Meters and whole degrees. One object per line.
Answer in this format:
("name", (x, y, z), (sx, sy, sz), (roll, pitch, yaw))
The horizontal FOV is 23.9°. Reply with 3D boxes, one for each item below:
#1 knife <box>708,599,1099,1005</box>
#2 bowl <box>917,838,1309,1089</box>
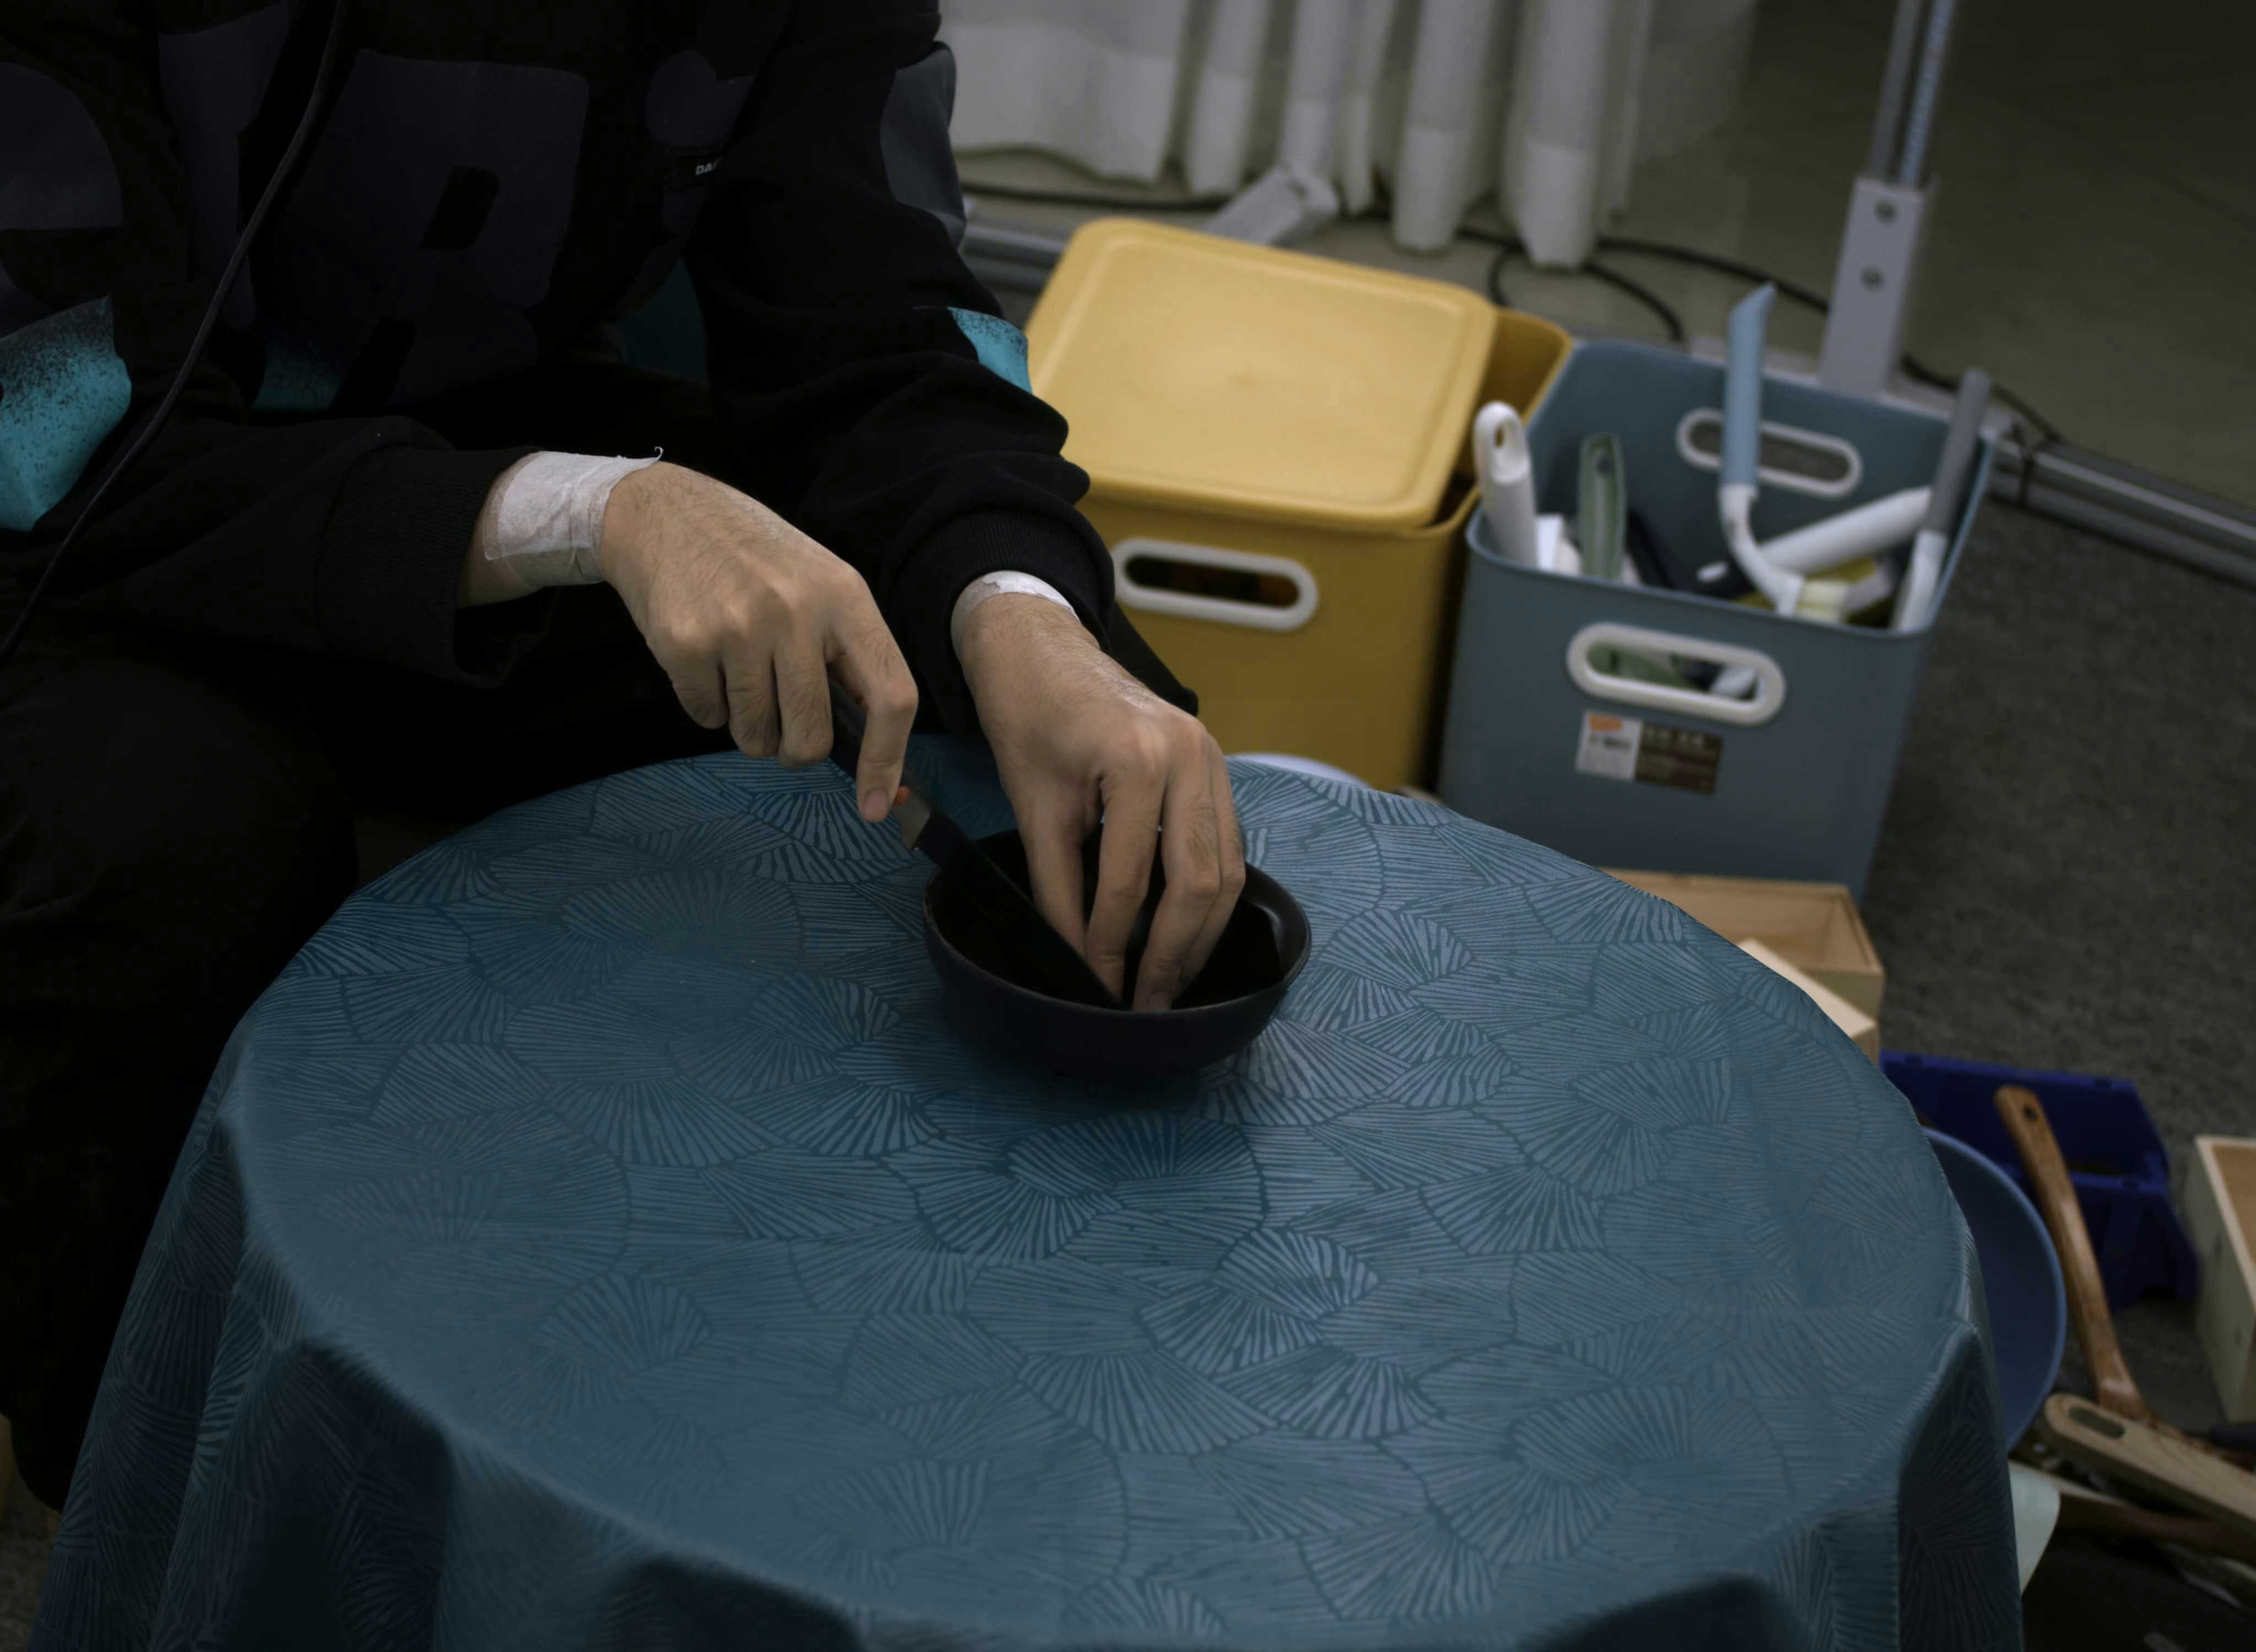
("knife", (-0.070, 0.005, 1.880), (0.226, 0.026, 0.017), (46, 46, 7))
("bowl", (-0.006, 0.055, 1.887), (0.139, 0.049, 0.141), (2, 25, -1))
